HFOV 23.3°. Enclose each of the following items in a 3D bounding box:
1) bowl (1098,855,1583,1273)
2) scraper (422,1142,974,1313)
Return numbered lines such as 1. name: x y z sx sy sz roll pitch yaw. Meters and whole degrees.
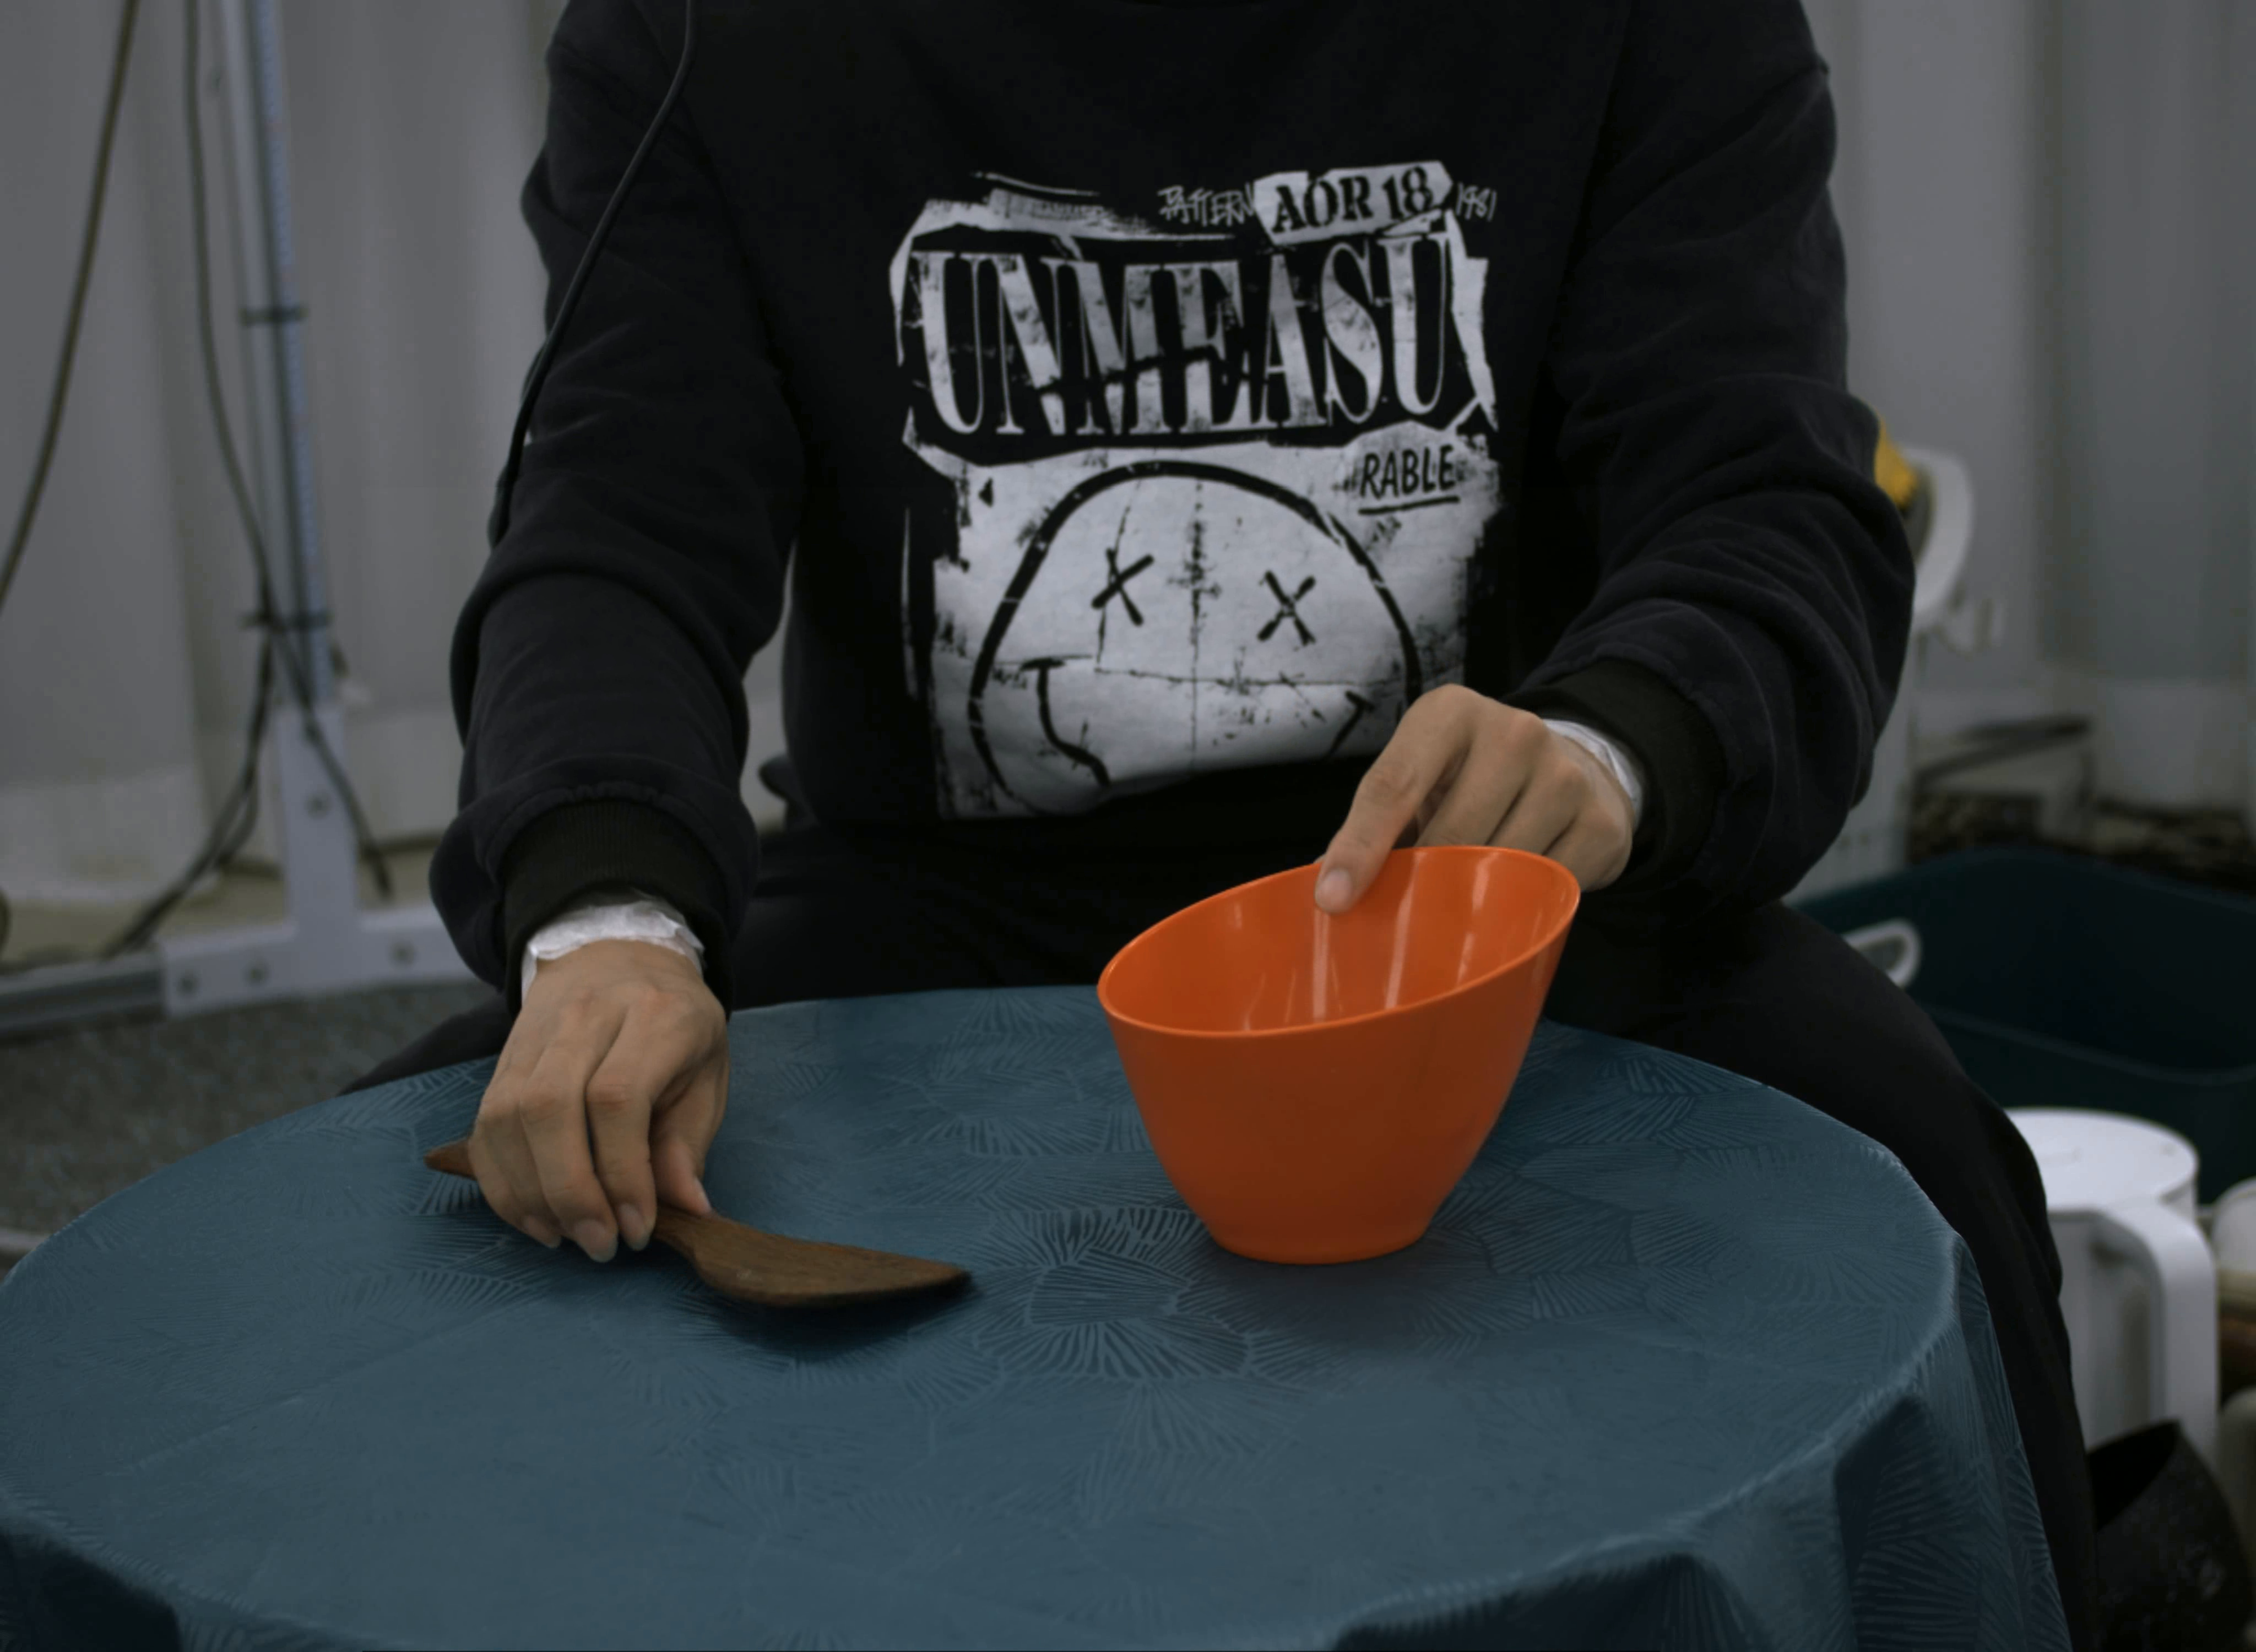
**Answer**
1. bowl: 0.066 0.075 1.659 0.147 0.104 0.149 -3 14 0
2. scraper: -0.141 0.122 1.672 0.212 0.011 0.075 14 13 42
